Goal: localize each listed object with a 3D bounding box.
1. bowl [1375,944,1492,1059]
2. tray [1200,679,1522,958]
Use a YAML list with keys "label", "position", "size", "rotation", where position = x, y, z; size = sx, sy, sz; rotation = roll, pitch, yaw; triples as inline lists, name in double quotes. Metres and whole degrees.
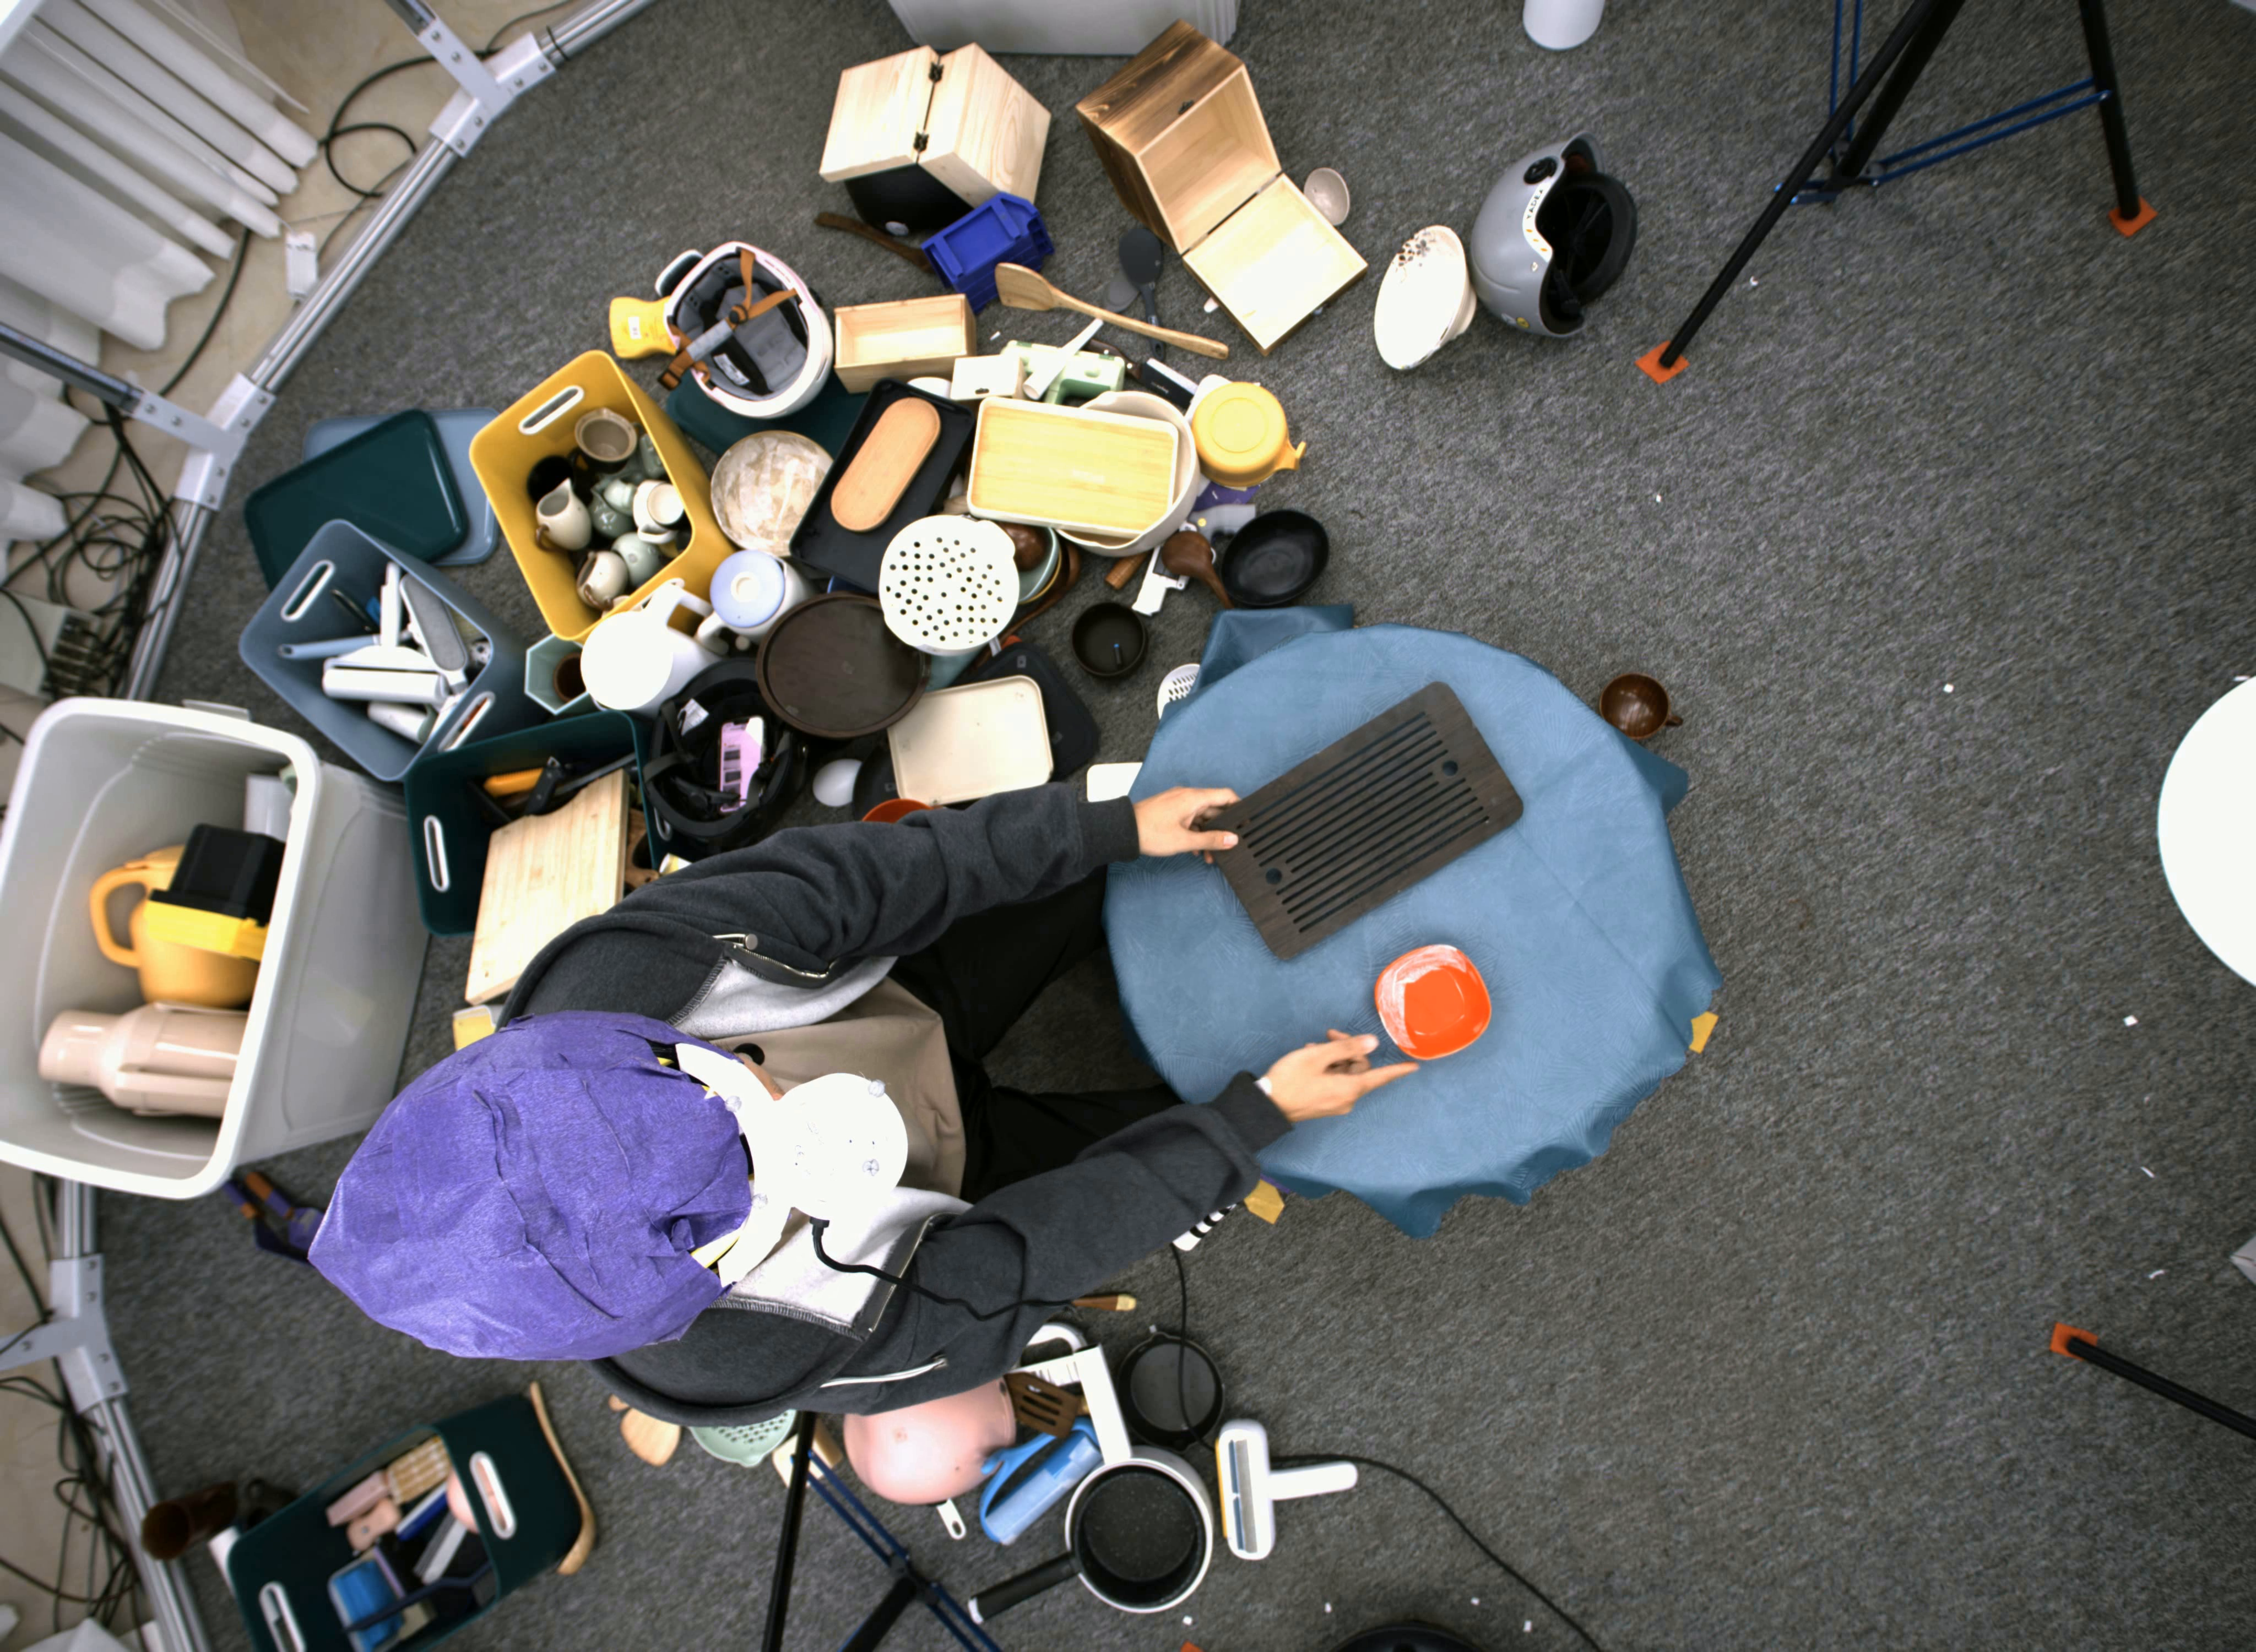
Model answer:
- label: "bowl"
  position: [0.311, 0.178, 1.417]
  size: [0.119, 0.051, 0.118]
  rotation: [-1, 86, 6]
- label: "tray"
  position: [0.243, -0.008, 1.449]
  size: [0.307, 0.018, 0.170]
  rotation: [-32, 89, 7]
